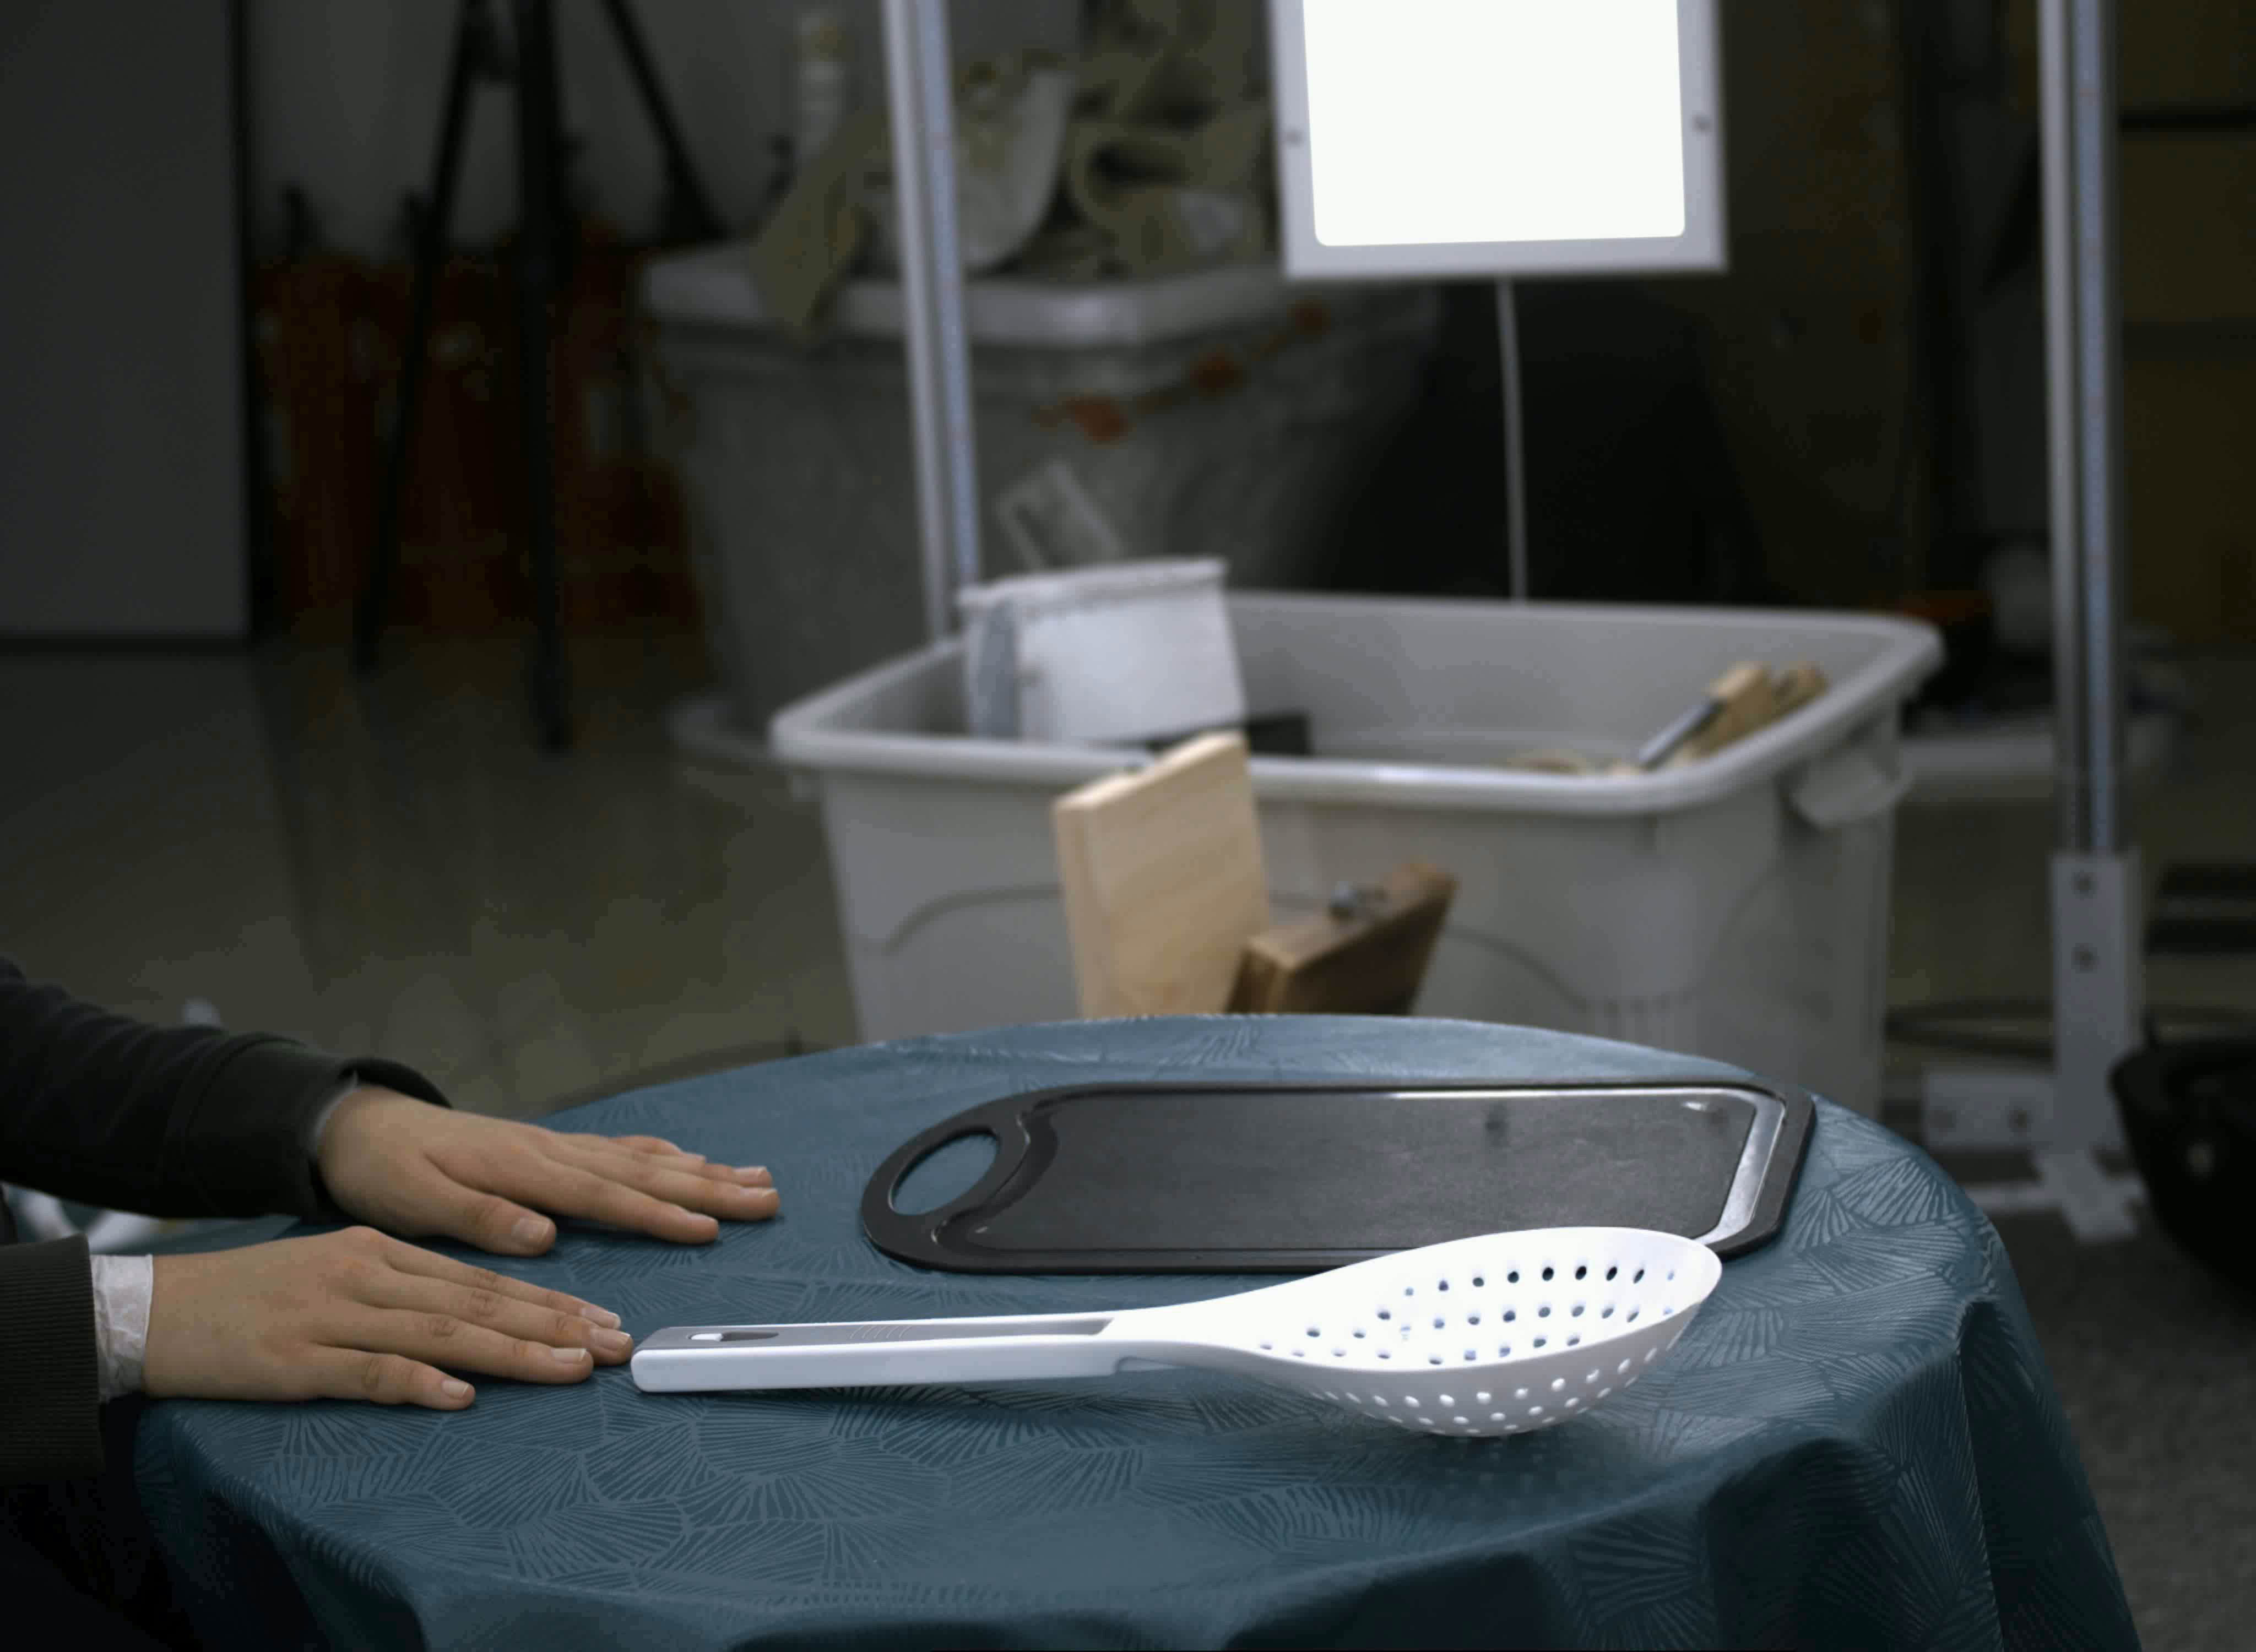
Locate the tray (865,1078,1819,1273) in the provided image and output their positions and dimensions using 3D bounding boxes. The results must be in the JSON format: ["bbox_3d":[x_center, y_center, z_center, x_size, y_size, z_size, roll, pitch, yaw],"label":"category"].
[{"bbox_3d":[0.071,0.117,1.895,0.328,0.010,0.208,-2,14,15],"label":"tray"}]

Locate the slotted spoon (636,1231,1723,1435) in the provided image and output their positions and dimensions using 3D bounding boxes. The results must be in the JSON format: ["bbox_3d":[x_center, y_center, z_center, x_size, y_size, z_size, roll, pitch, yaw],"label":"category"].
[{"bbox_3d":[0.011,0.156,1.679,0.355,0.046,0.133,0,12,22],"label":"slotted spoon"}]
